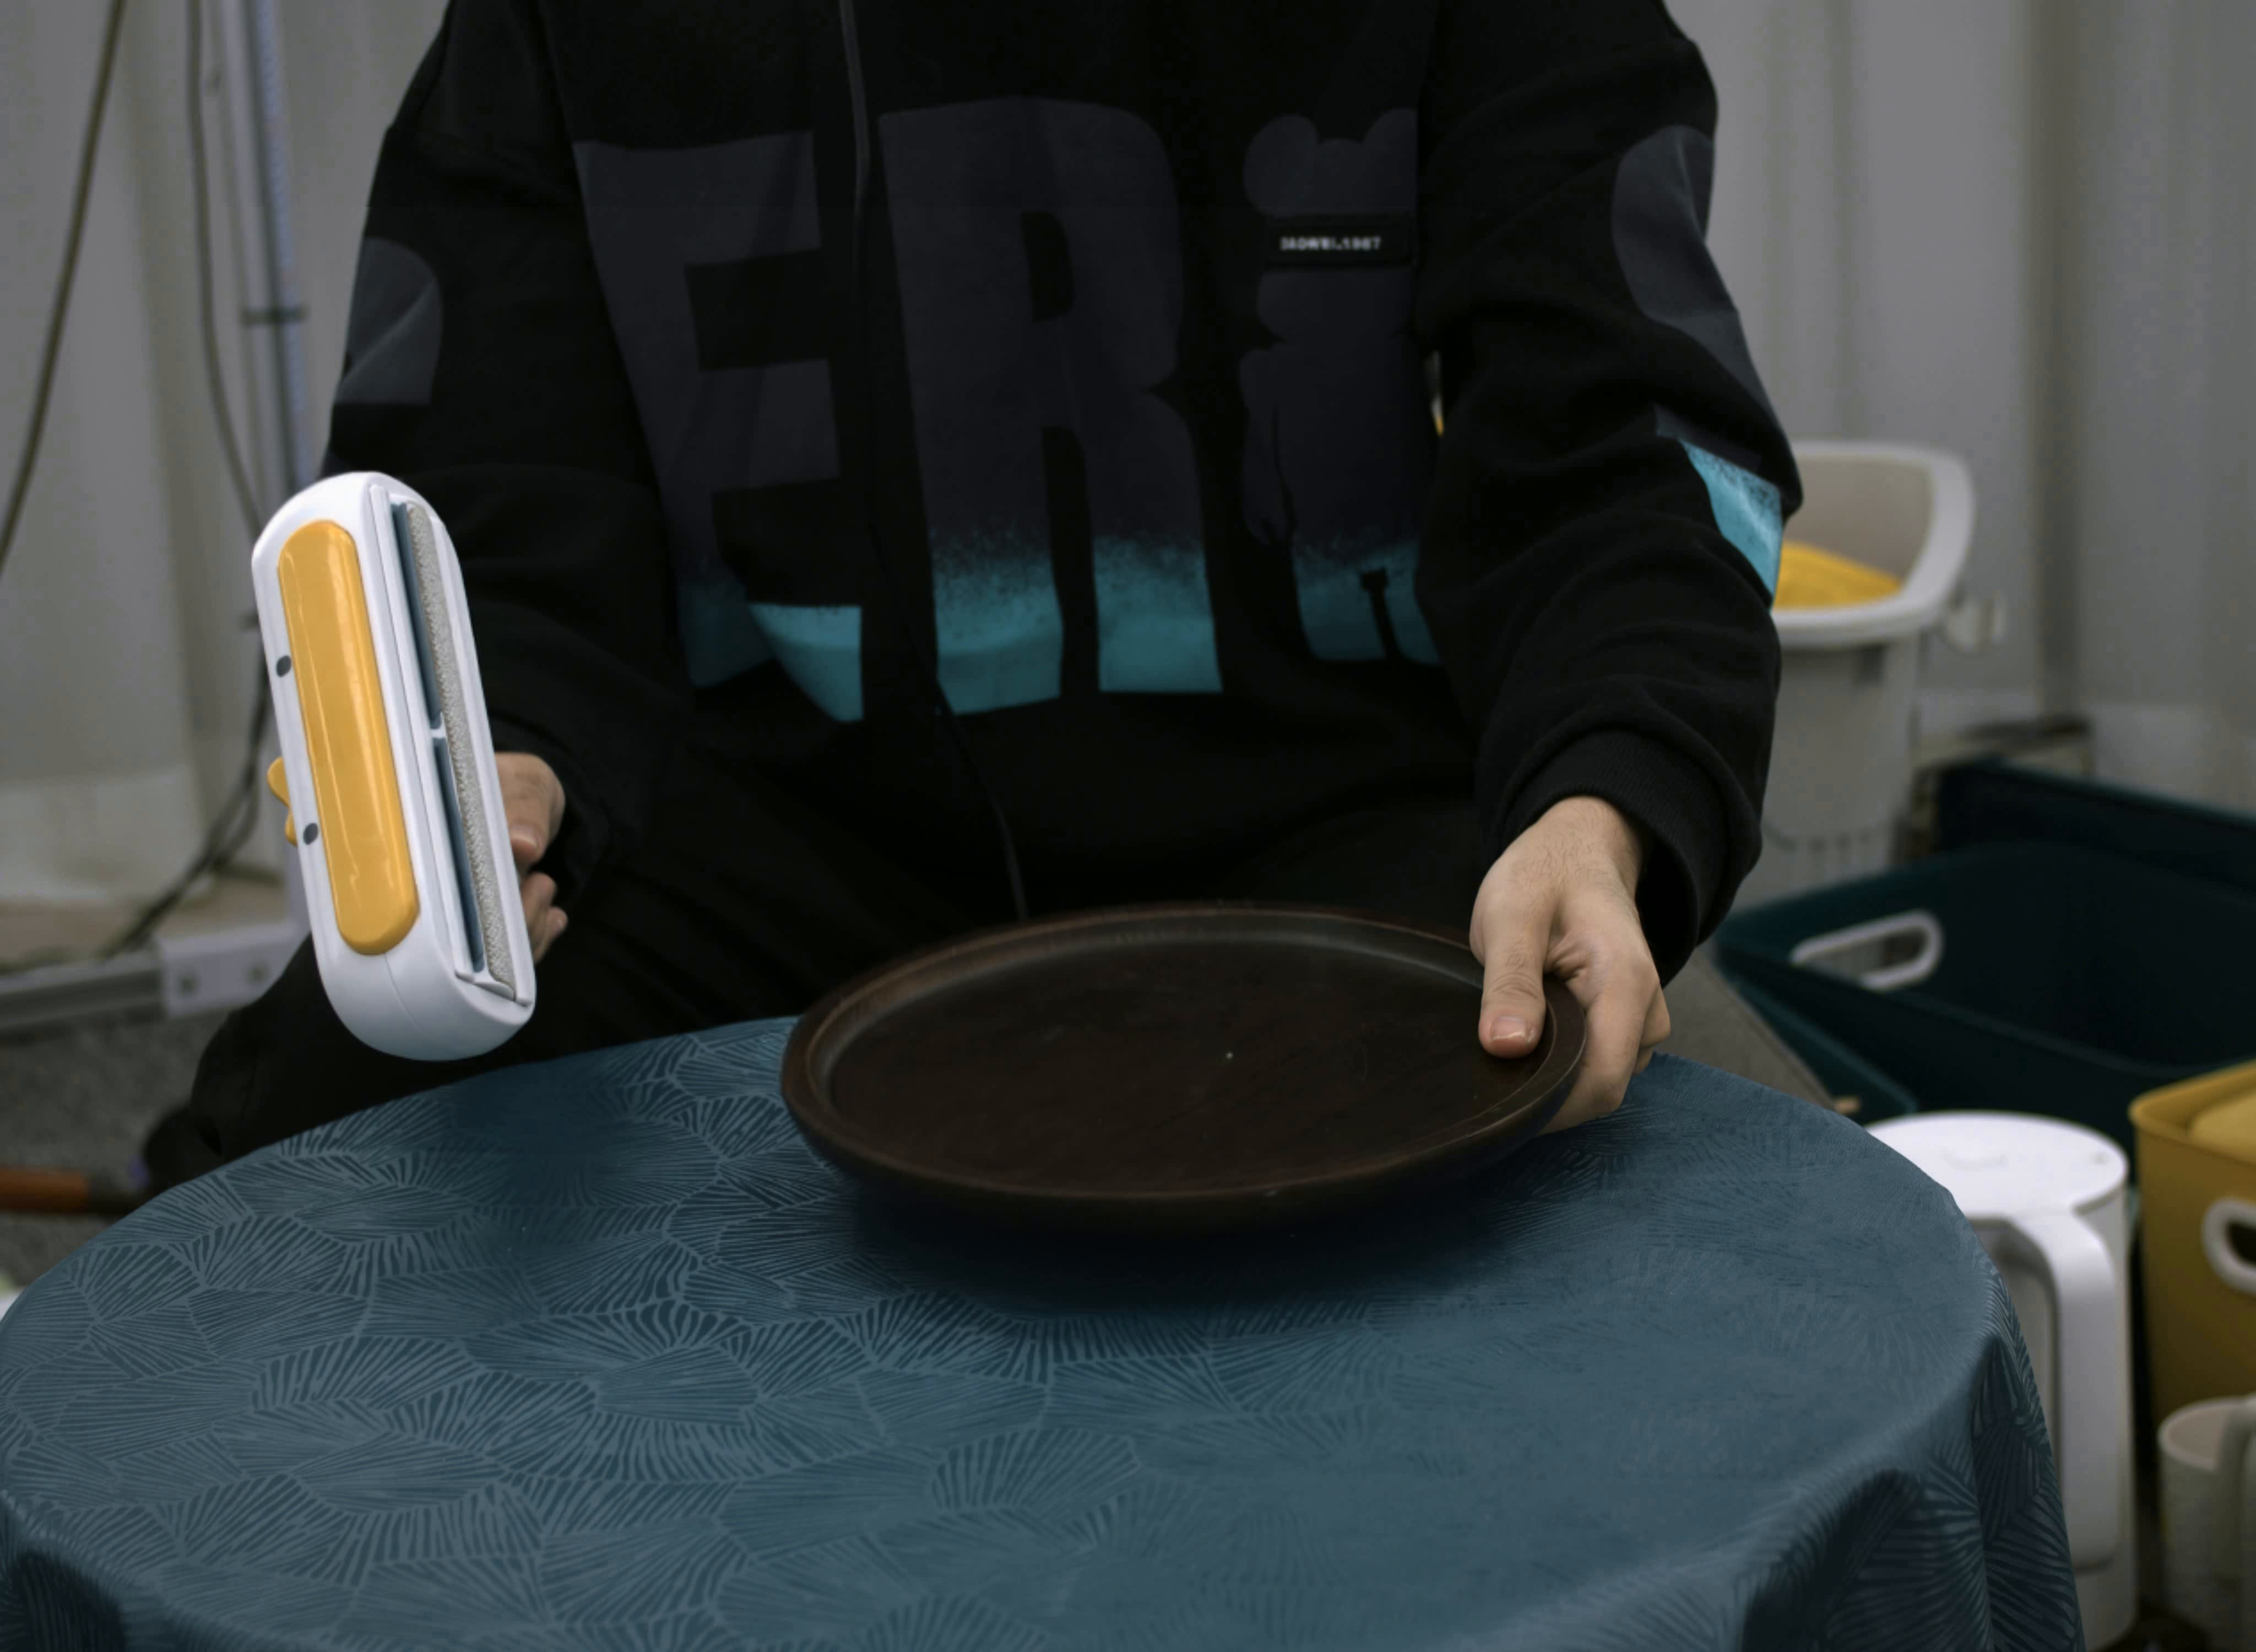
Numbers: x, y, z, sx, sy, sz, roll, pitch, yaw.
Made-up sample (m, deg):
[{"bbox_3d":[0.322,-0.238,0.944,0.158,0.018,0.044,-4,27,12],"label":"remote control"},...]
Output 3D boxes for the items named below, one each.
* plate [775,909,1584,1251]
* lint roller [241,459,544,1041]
[{"bbox_3d":[0.016,0.077,1.707,0.254,0.029,0.257,-4,17,1],"label":"plate"},{"bbox_3d":[-0.219,0.001,1.757,0.074,0.195,0.190,-22,-29,9],"label":"lint roller"}]
